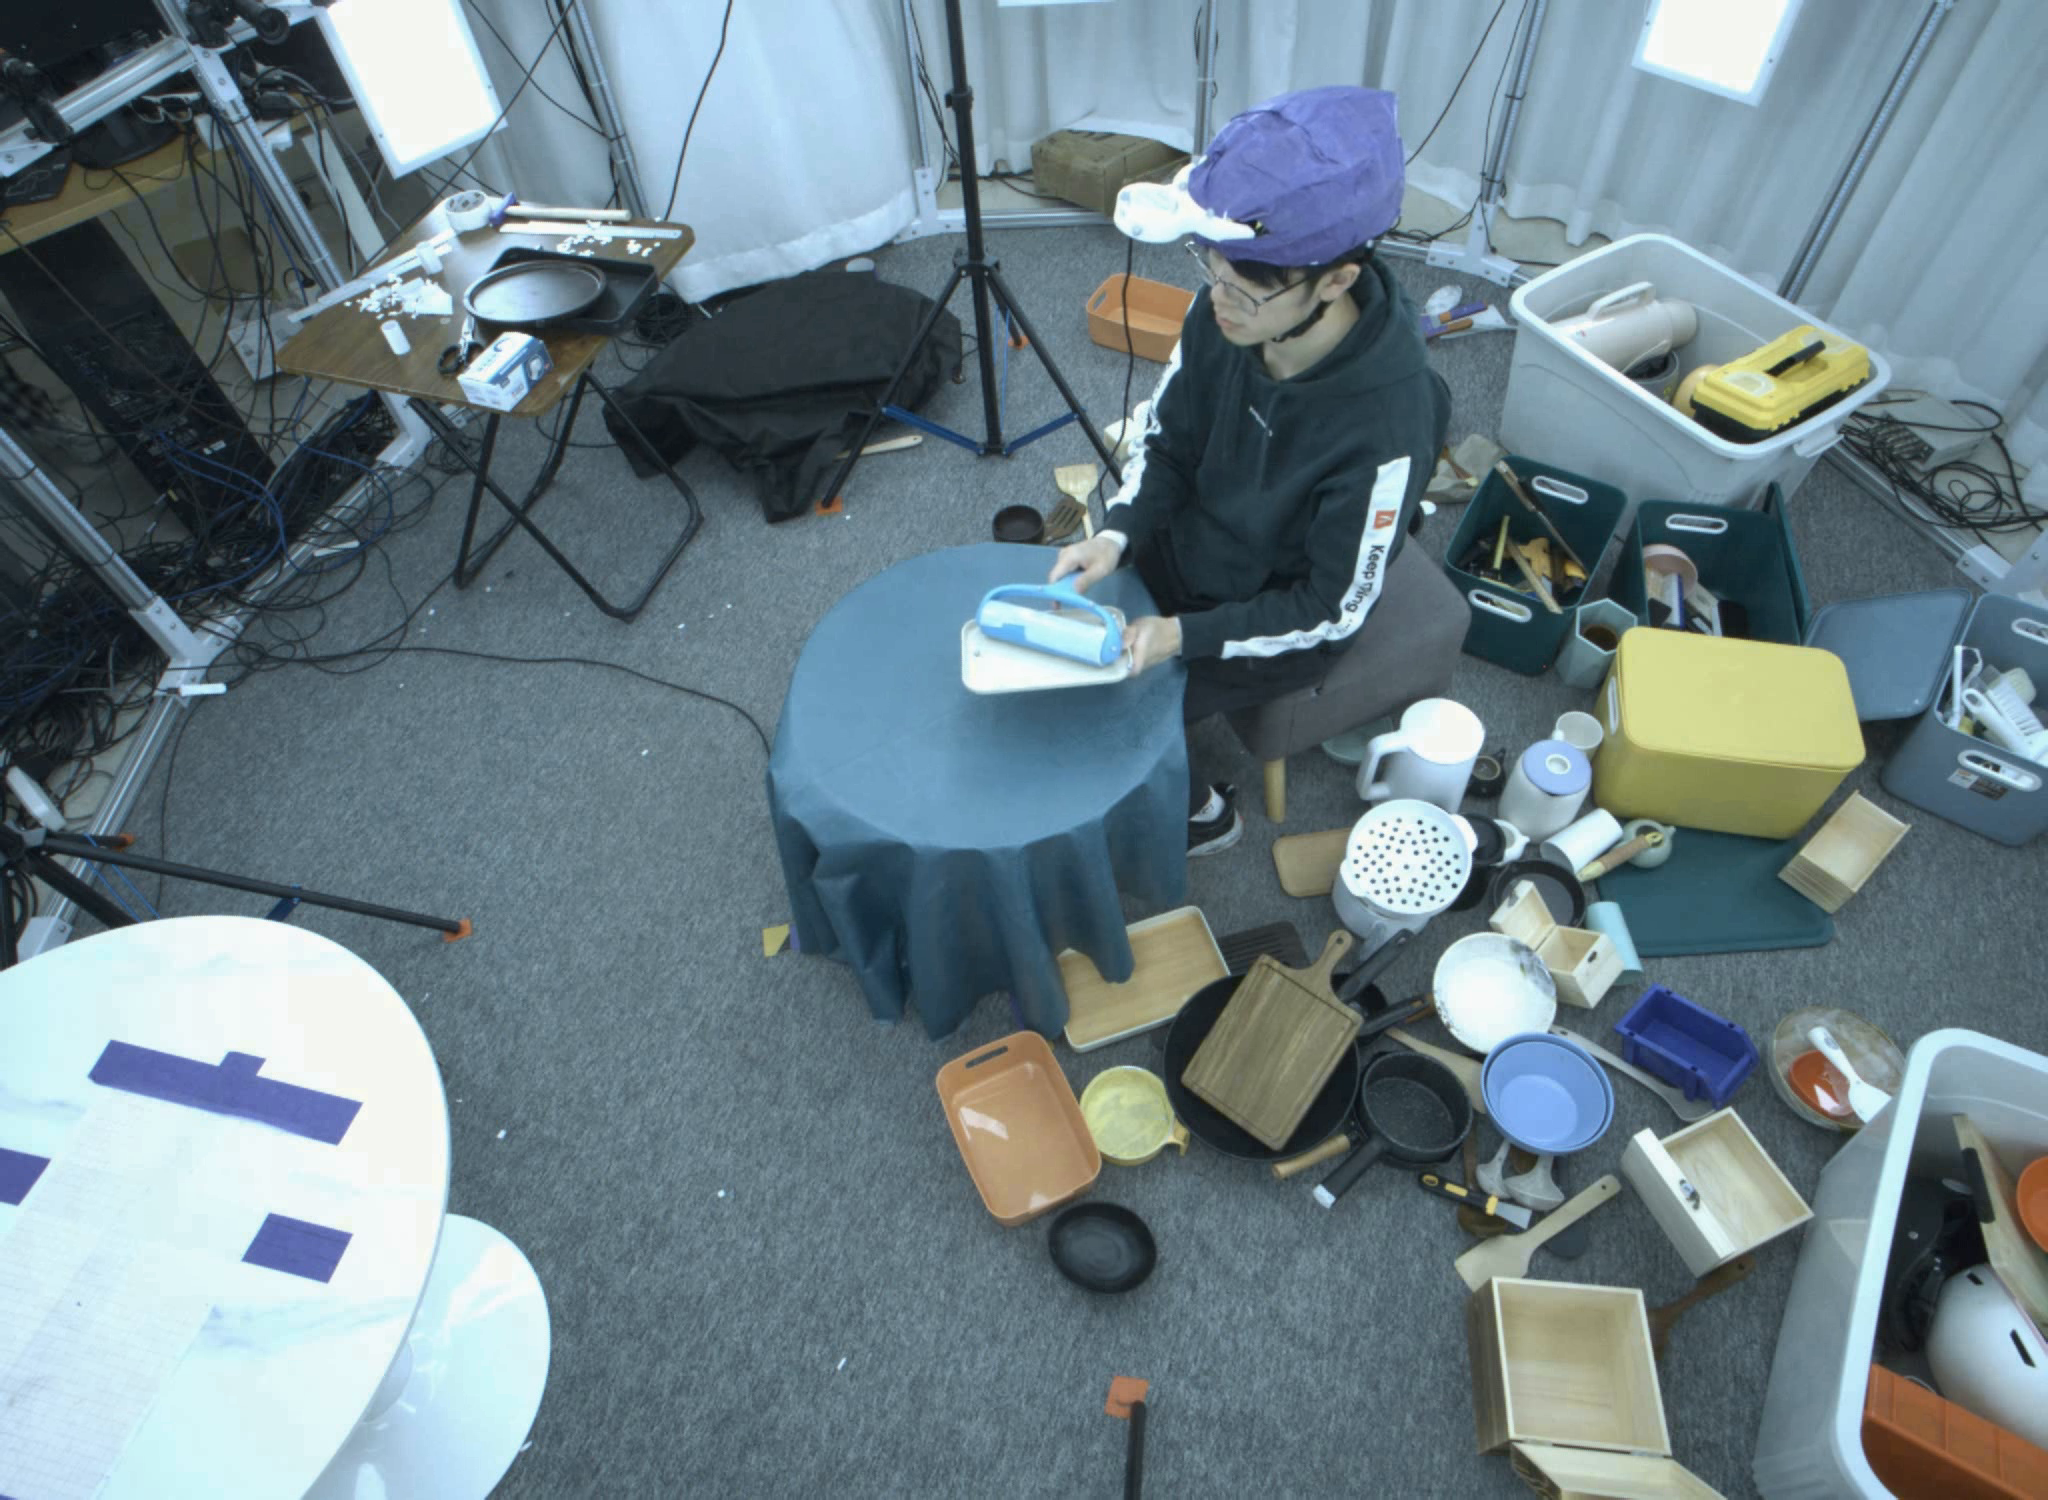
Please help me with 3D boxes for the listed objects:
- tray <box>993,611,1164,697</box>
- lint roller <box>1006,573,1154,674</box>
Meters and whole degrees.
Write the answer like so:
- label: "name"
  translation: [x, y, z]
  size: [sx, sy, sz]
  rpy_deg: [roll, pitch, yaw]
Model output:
- label: "tray"
  translation: [0.075, -0.136, 1.749]
  size: [0.240, 0.018, 0.169]
  rpy_deg: [-3, 43, 1]
- label: "lint roller"
  translation: [0.102, -0.206, 1.769]
  size: [0.225, 0.069, 0.180]
  rpy_deg: [16, 60, 22]
